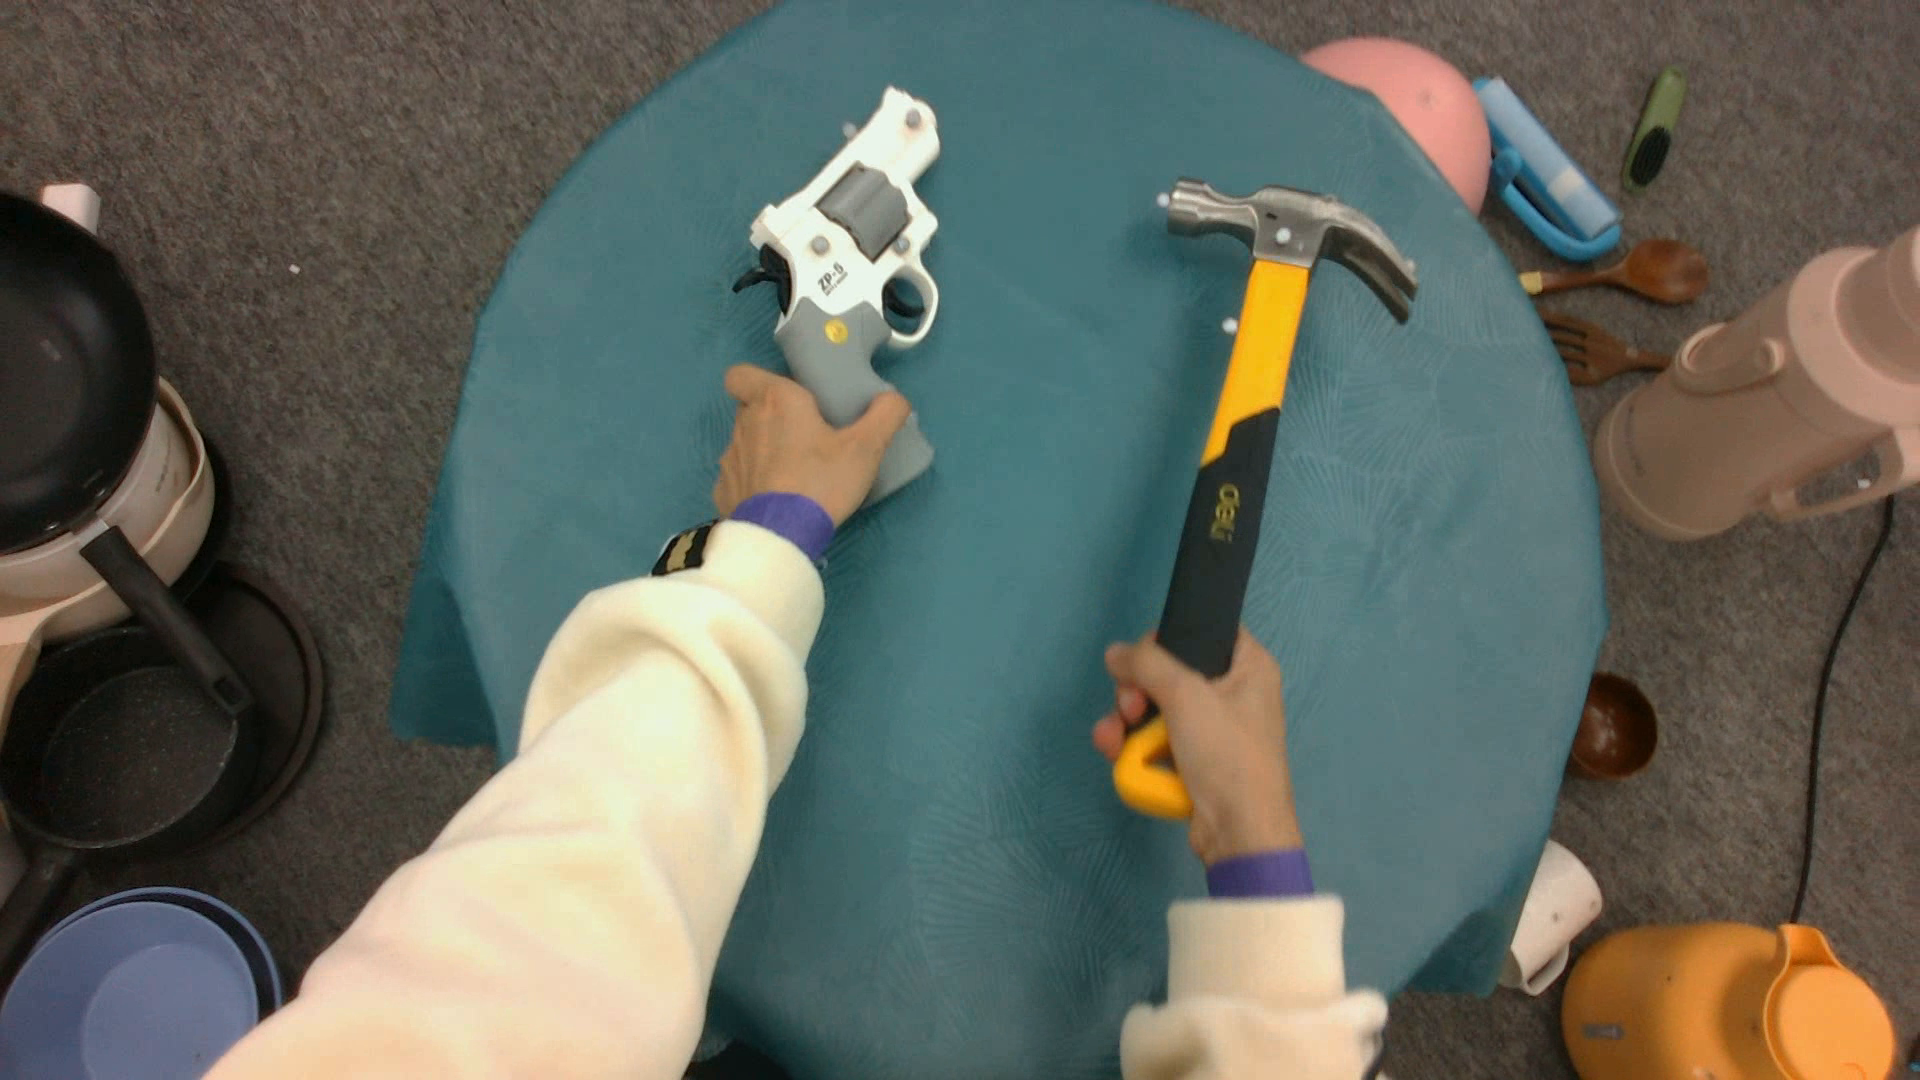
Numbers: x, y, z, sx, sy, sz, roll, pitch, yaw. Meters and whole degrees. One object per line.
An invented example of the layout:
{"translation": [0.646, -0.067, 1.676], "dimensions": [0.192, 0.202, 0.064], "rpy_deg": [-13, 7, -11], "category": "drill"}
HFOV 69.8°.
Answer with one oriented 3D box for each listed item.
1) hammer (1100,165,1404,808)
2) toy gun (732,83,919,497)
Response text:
{"translation": [0.122, -0.039, 0.642], "dimensions": [0.131, 0.032, 0.340], "rpy_deg": [10, 64, 16], "category": "hammer"}
{"translation": [-0.047, -0.134, 0.709], "dimensions": [0.141, 0.038, 0.210], "rpy_deg": [43, 55, -14], "category": "toy gun"}
